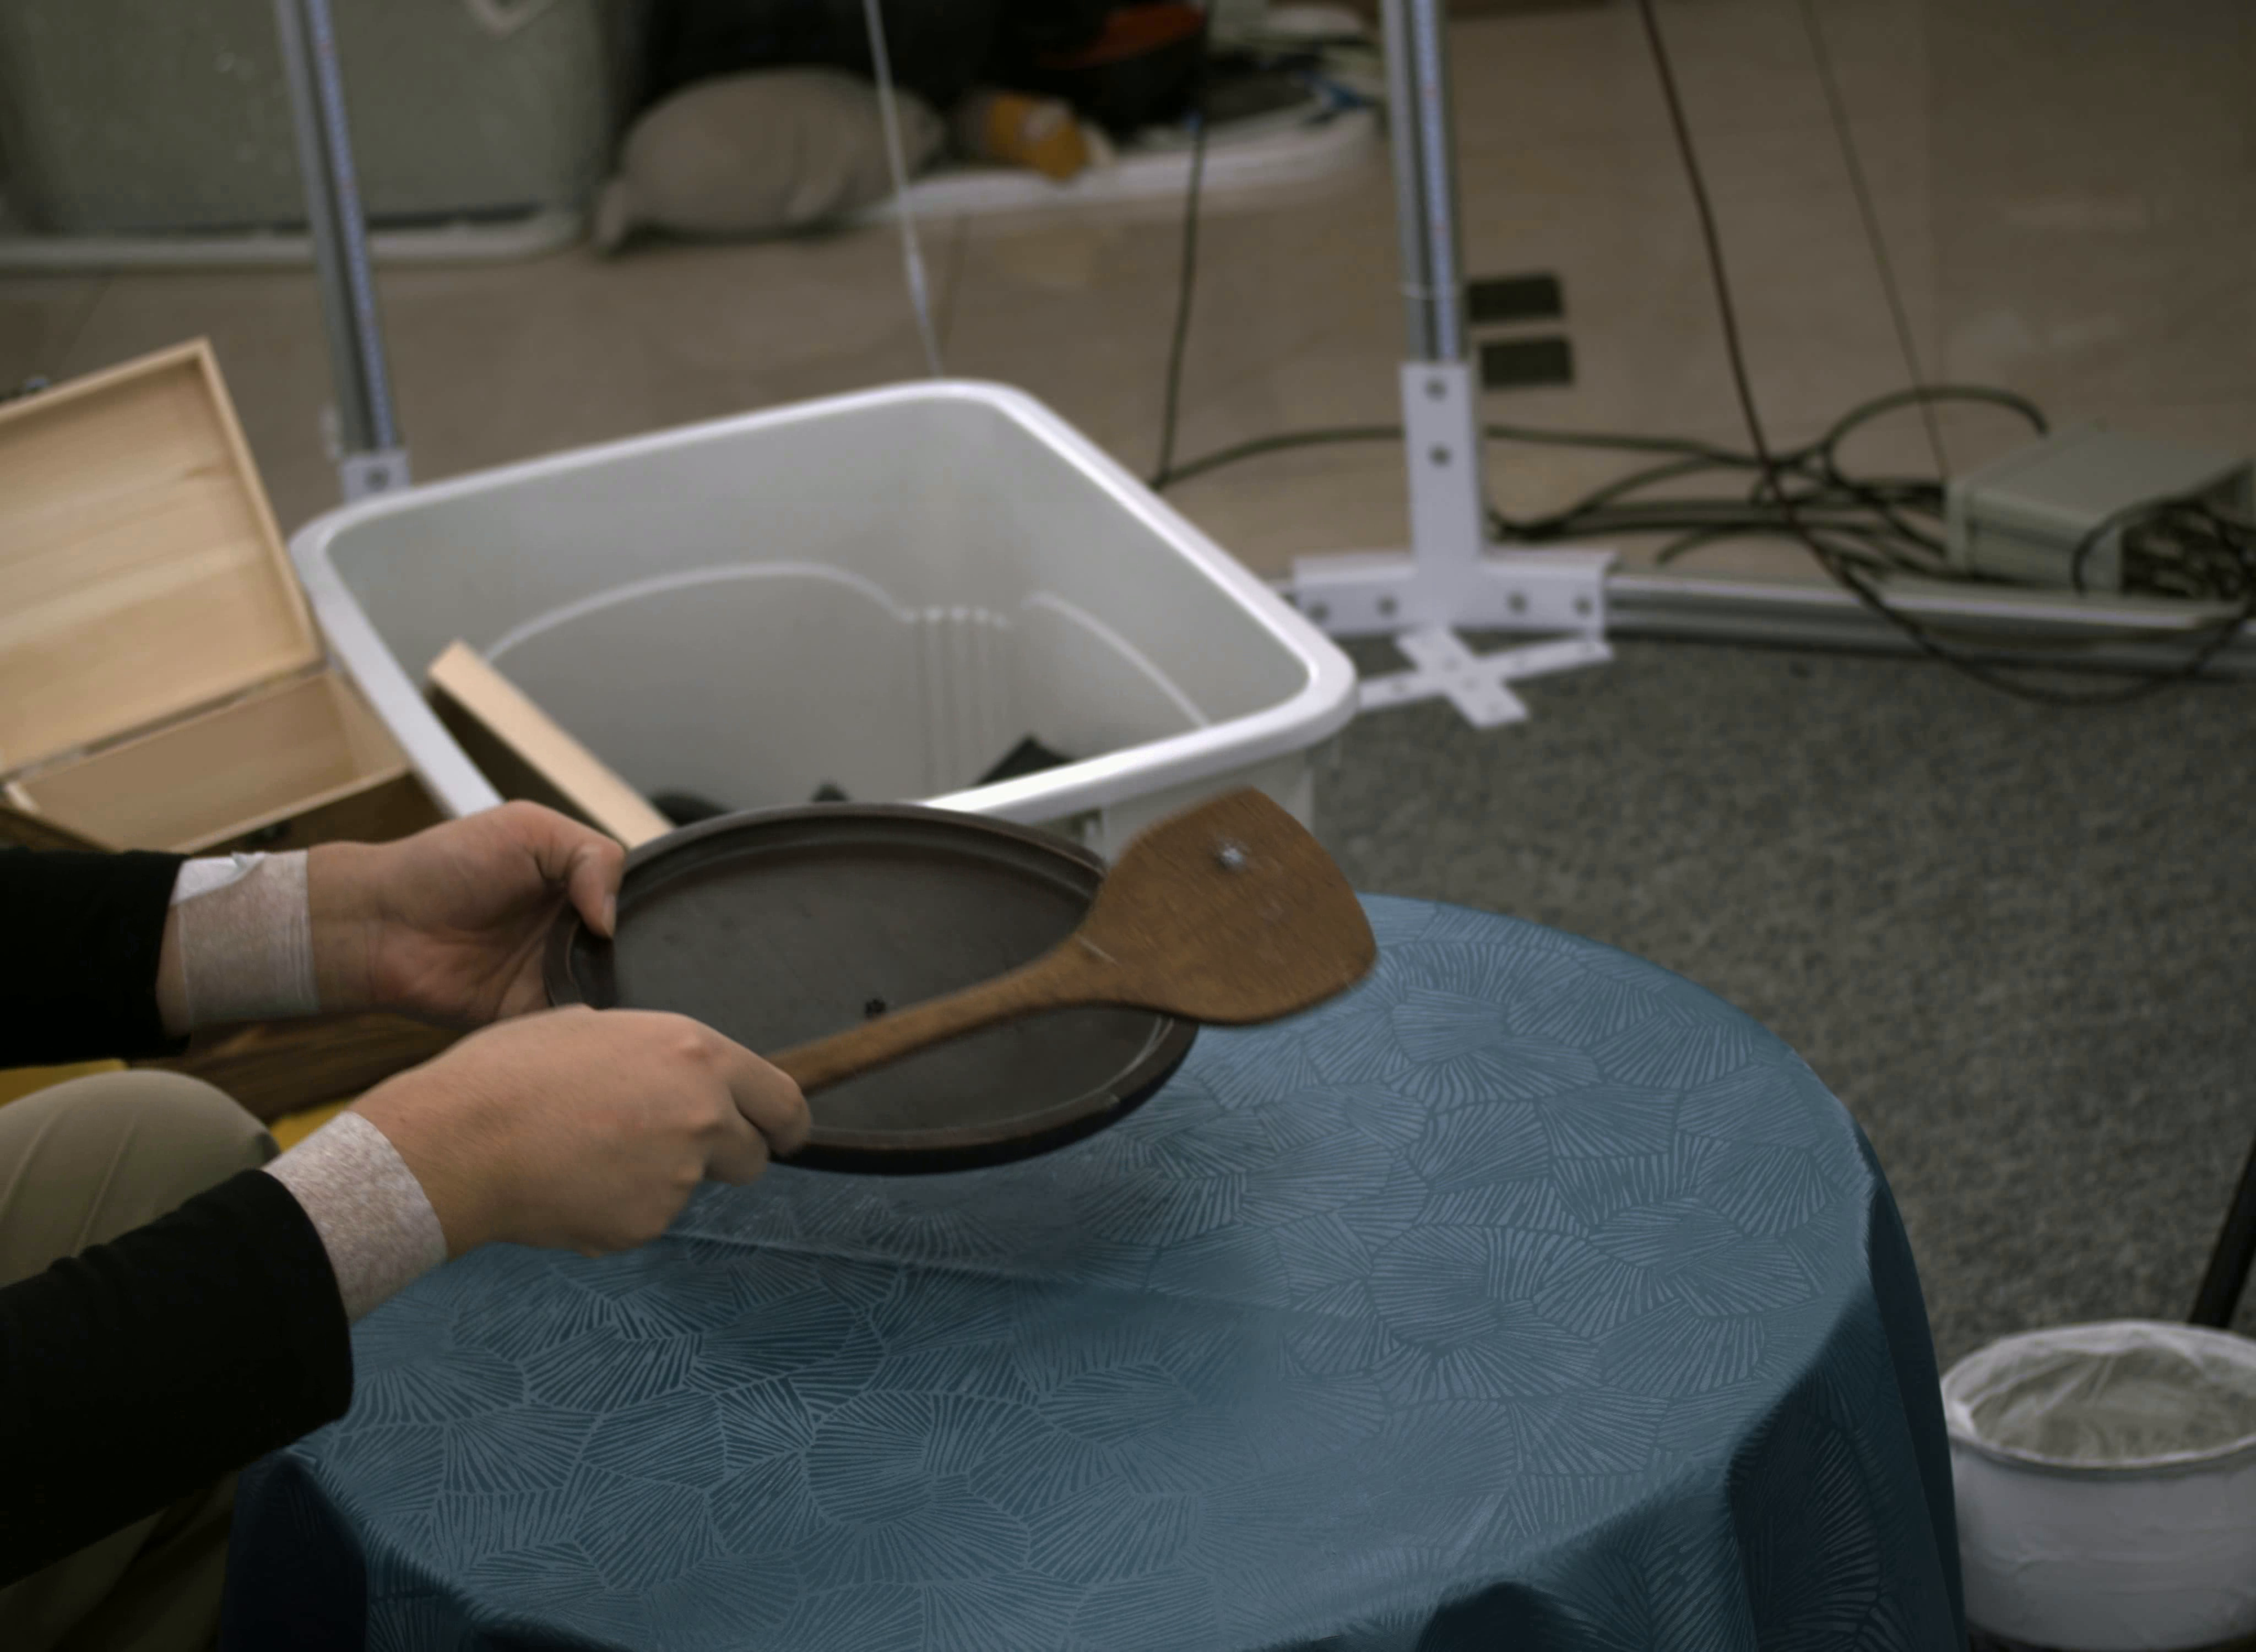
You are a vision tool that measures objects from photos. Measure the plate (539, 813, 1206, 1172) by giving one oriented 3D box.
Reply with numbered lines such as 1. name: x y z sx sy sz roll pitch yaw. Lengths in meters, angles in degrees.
1. plate: -0.097 0.061 2.148 0.254 0.029 0.250 5 30 -3

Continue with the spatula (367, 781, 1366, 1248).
1. spatula: -0.089 0.073 1.965 0.384 0.016 0.095 -20 62 -27
